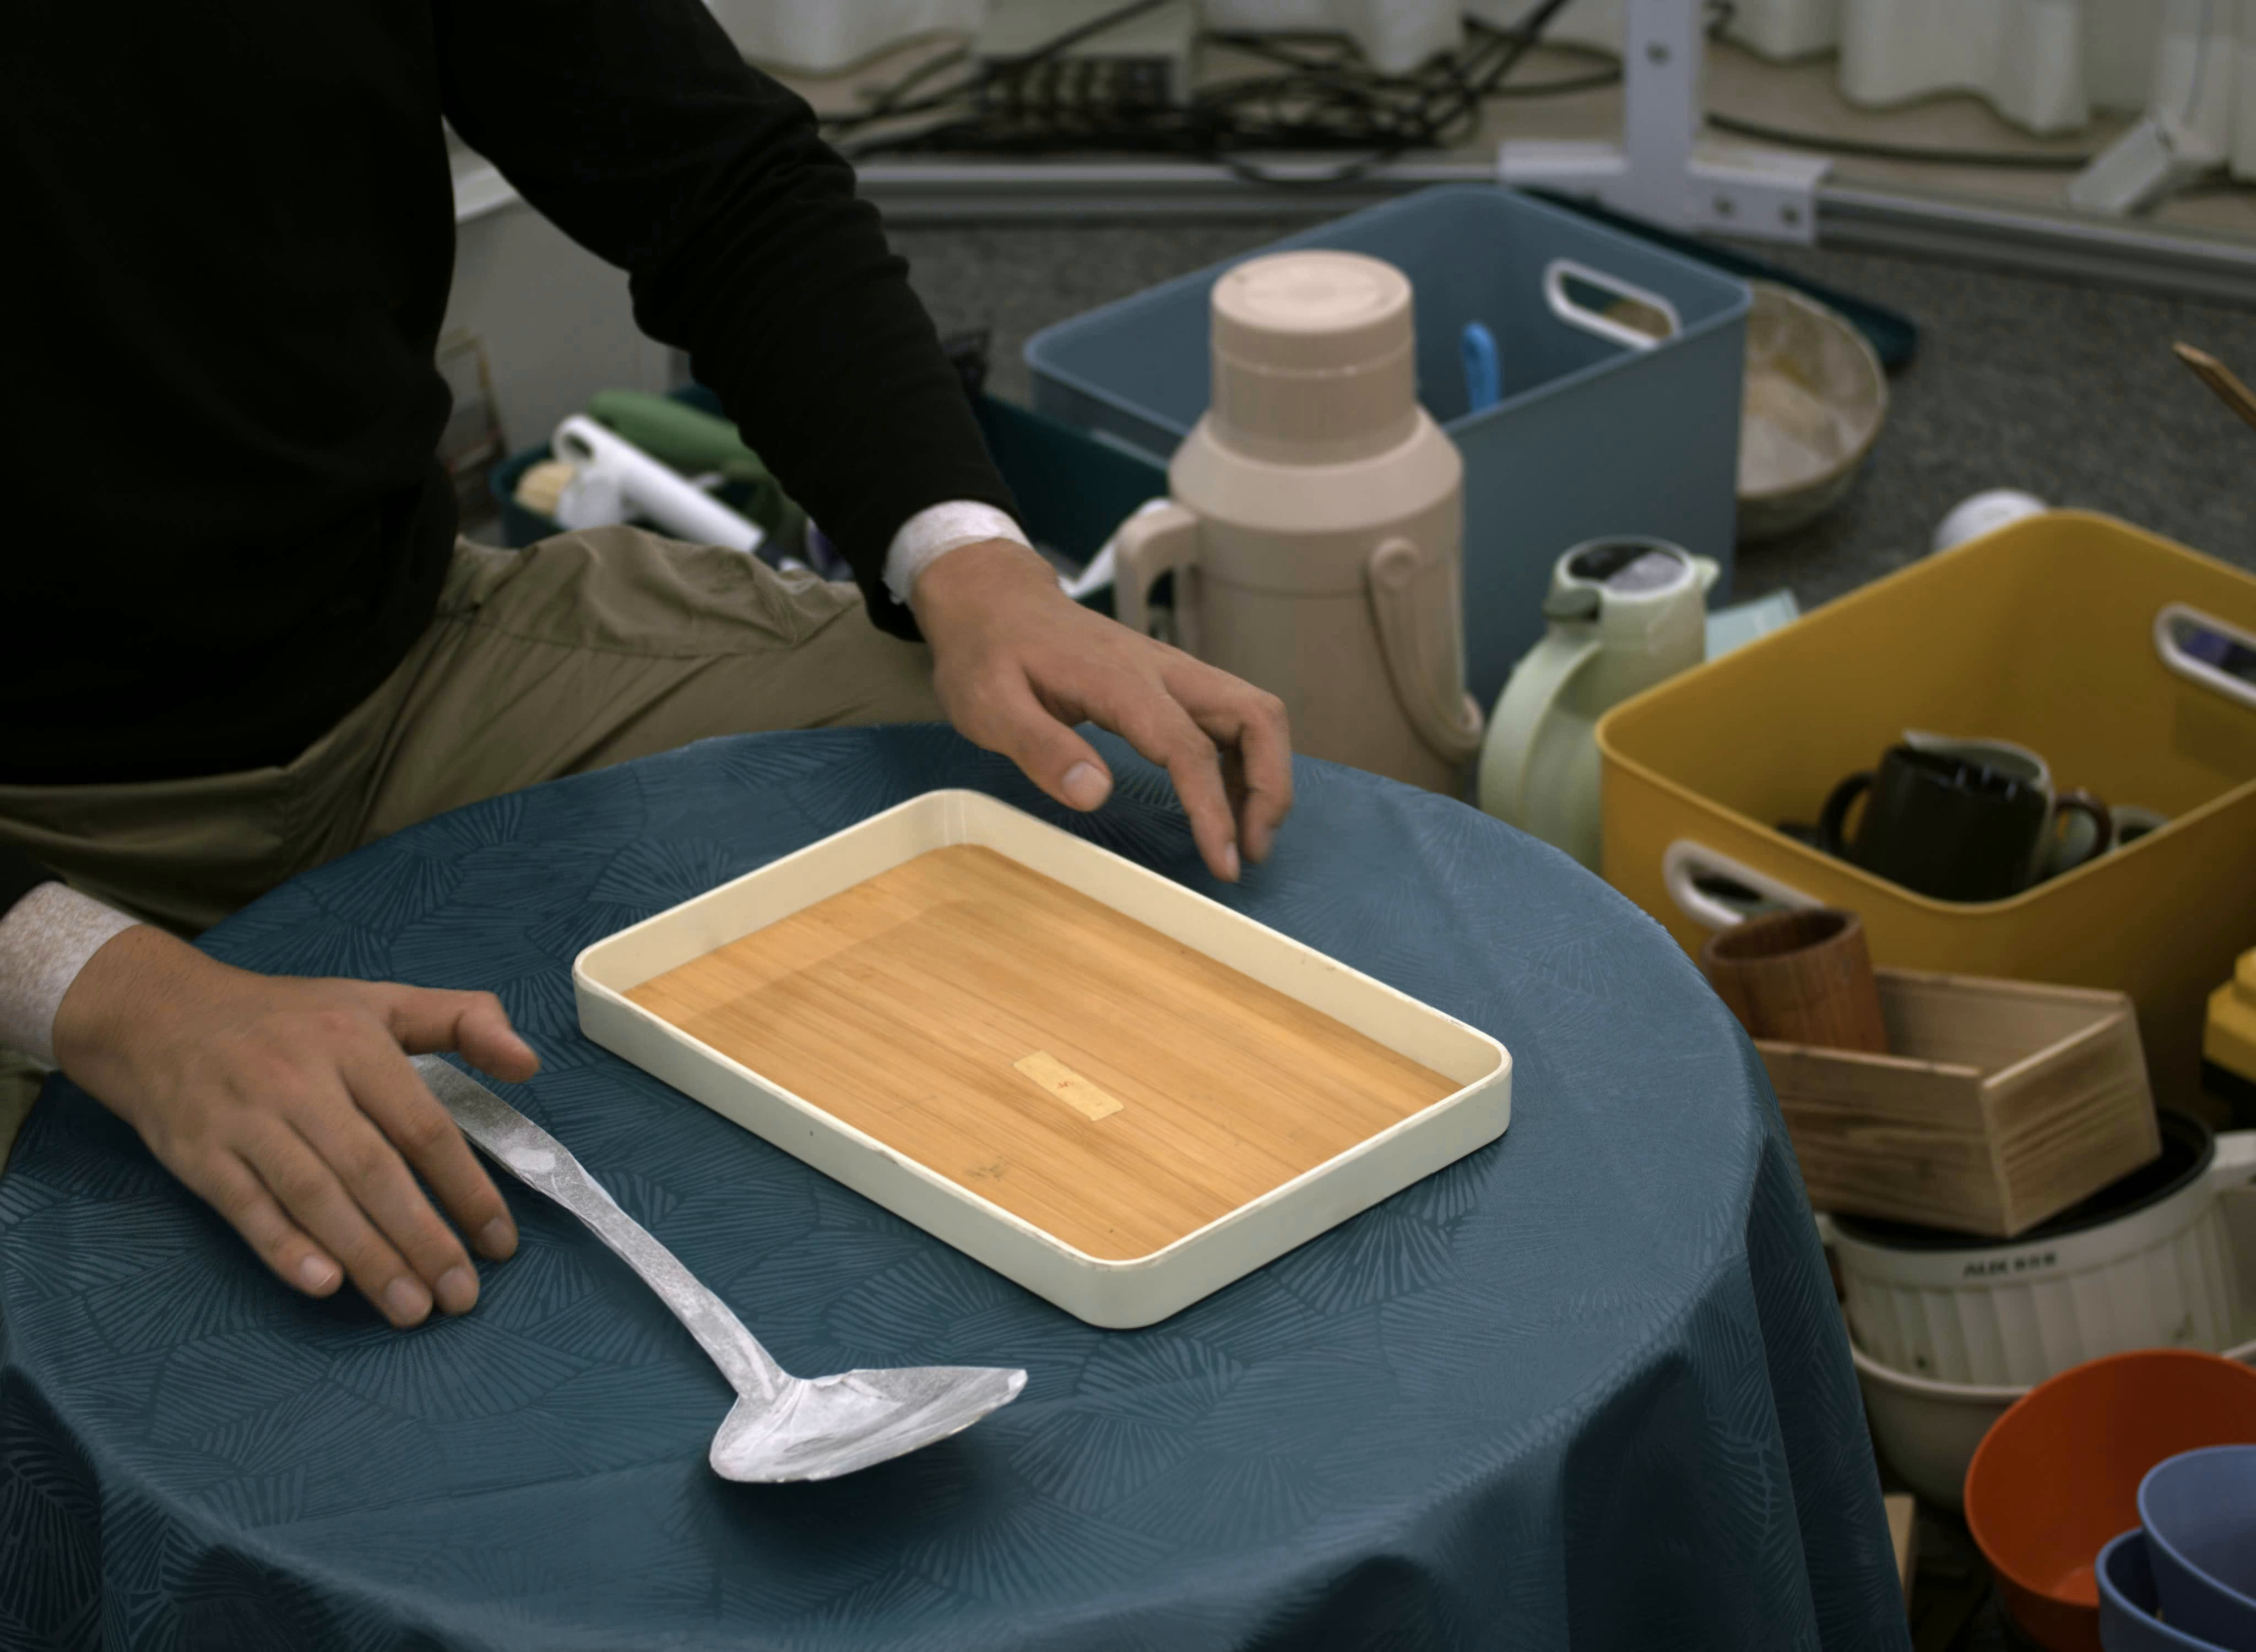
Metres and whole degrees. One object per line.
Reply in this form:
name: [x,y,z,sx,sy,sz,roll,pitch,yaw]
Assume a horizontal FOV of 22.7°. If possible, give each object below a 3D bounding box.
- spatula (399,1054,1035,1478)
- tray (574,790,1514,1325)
spatula: [-0.157,0.133,1.813,0.099,0.044,0.366,-19,32,-28]
tray: [-0.032,0.074,1.927,0.193,0.027,0.300,-24,34,-35]
